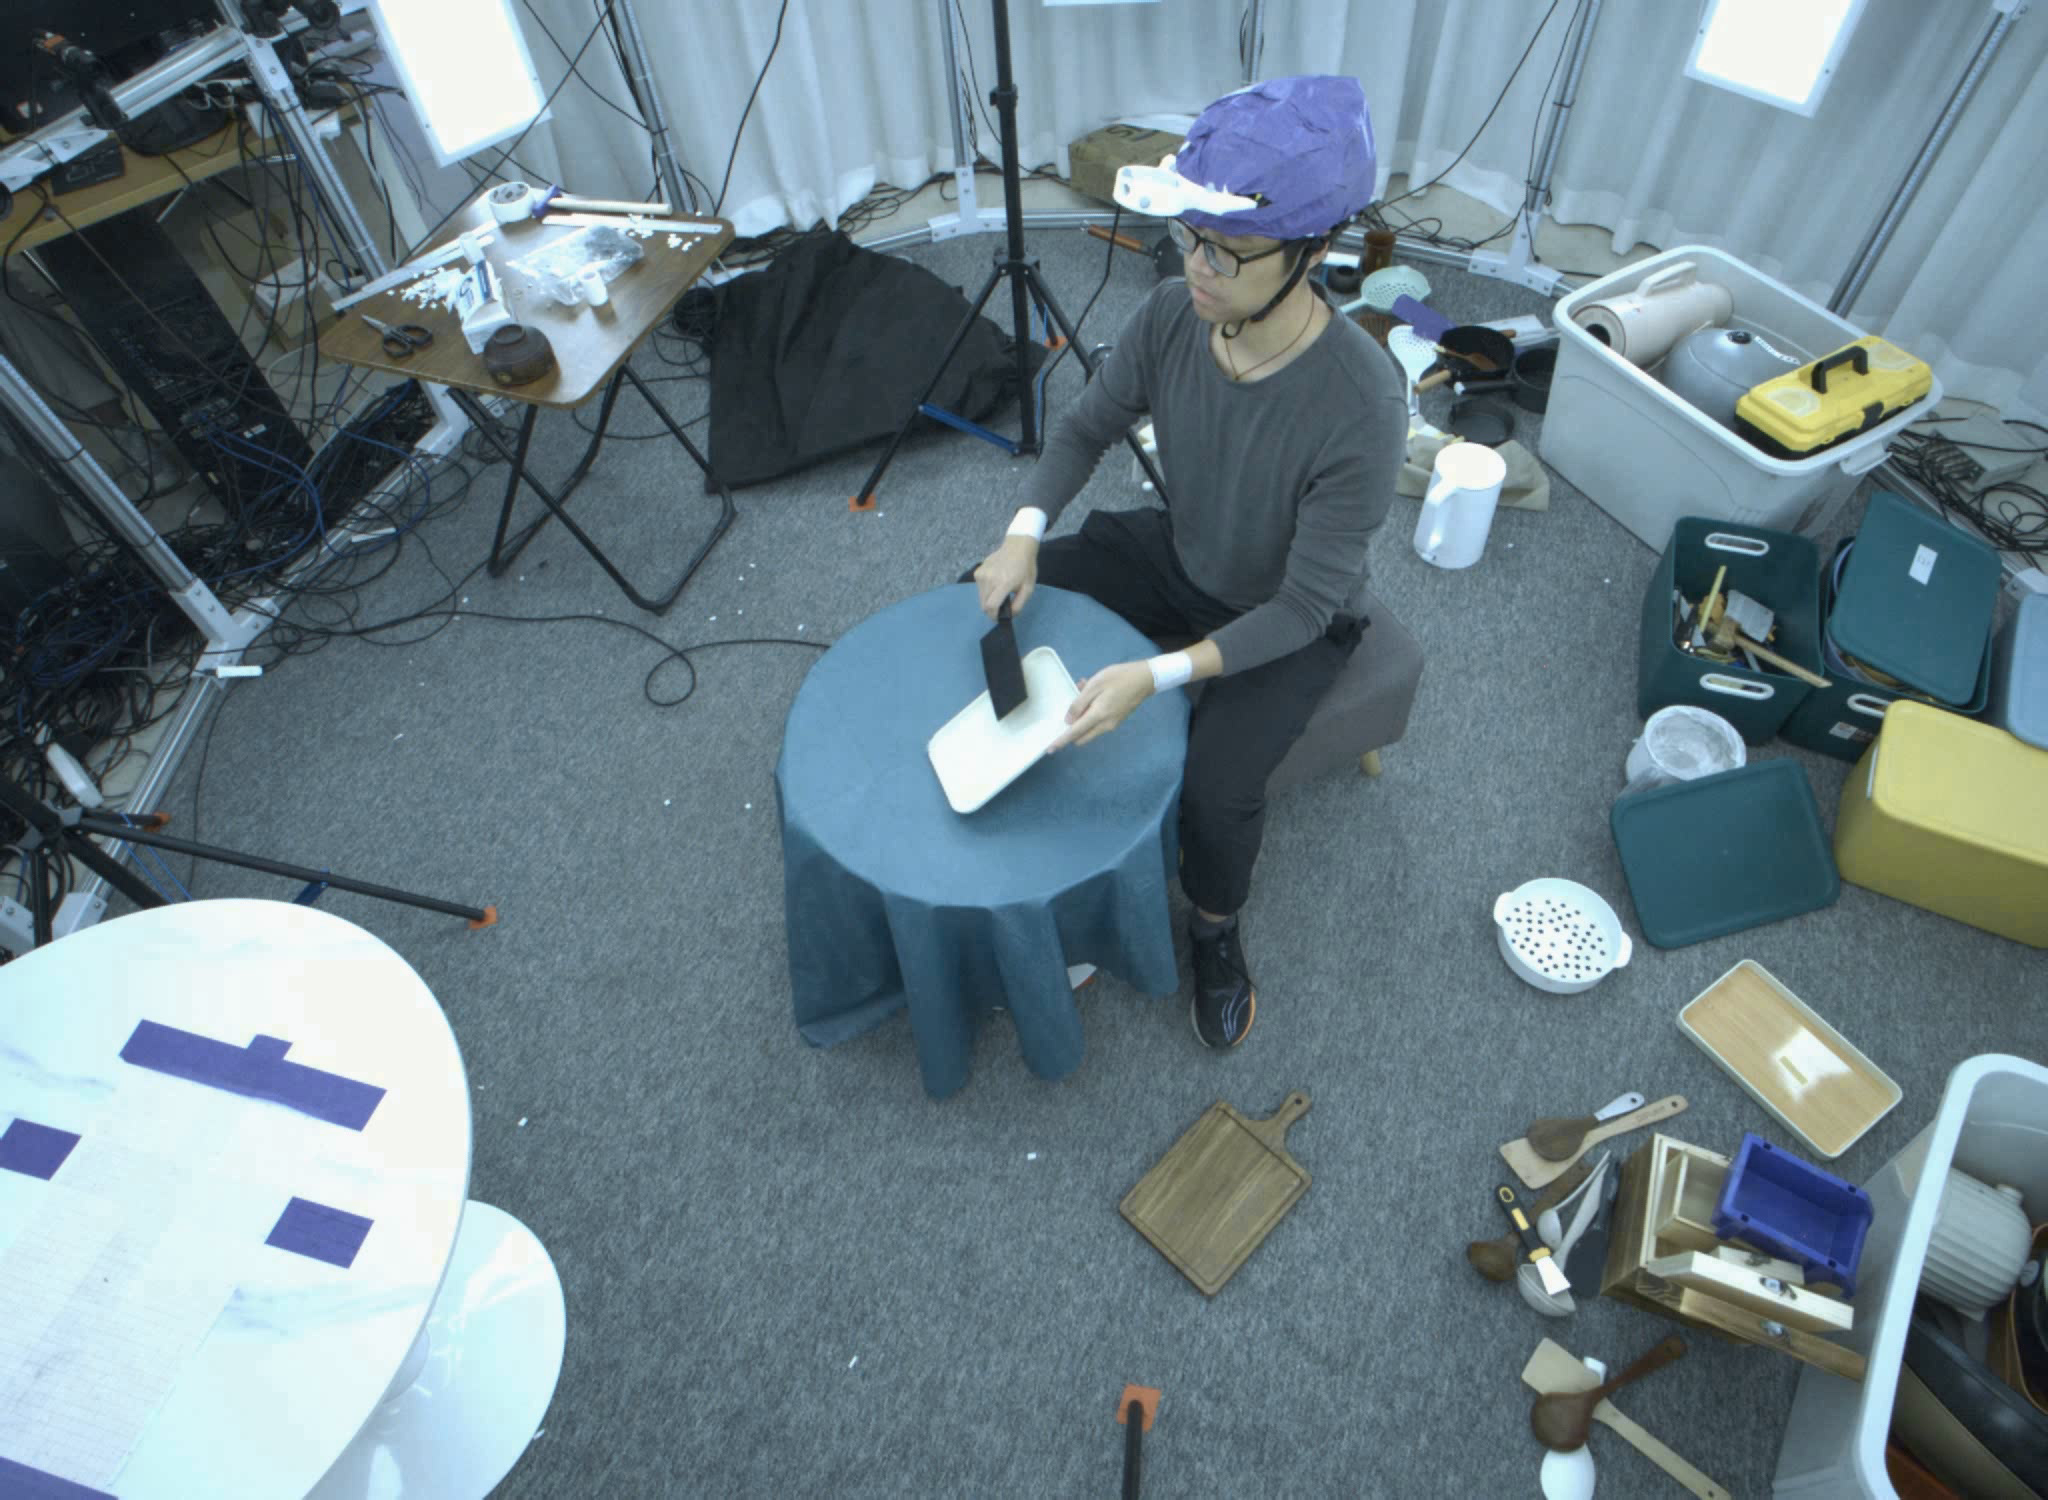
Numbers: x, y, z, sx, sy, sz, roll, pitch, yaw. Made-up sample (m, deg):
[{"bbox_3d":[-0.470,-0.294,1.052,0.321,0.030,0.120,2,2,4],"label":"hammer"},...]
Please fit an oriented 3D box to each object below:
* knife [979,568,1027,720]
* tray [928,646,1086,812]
[{"bbox_3d":[-0.037,-0.164,1.798,0.080,0.021,0.298,-34,43,28],"label":"knife"},{"bbox_3d":[-0.026,-0.029,1.730,0.239,0.018,0.168,-39,46,10],"label":"tray"}]
